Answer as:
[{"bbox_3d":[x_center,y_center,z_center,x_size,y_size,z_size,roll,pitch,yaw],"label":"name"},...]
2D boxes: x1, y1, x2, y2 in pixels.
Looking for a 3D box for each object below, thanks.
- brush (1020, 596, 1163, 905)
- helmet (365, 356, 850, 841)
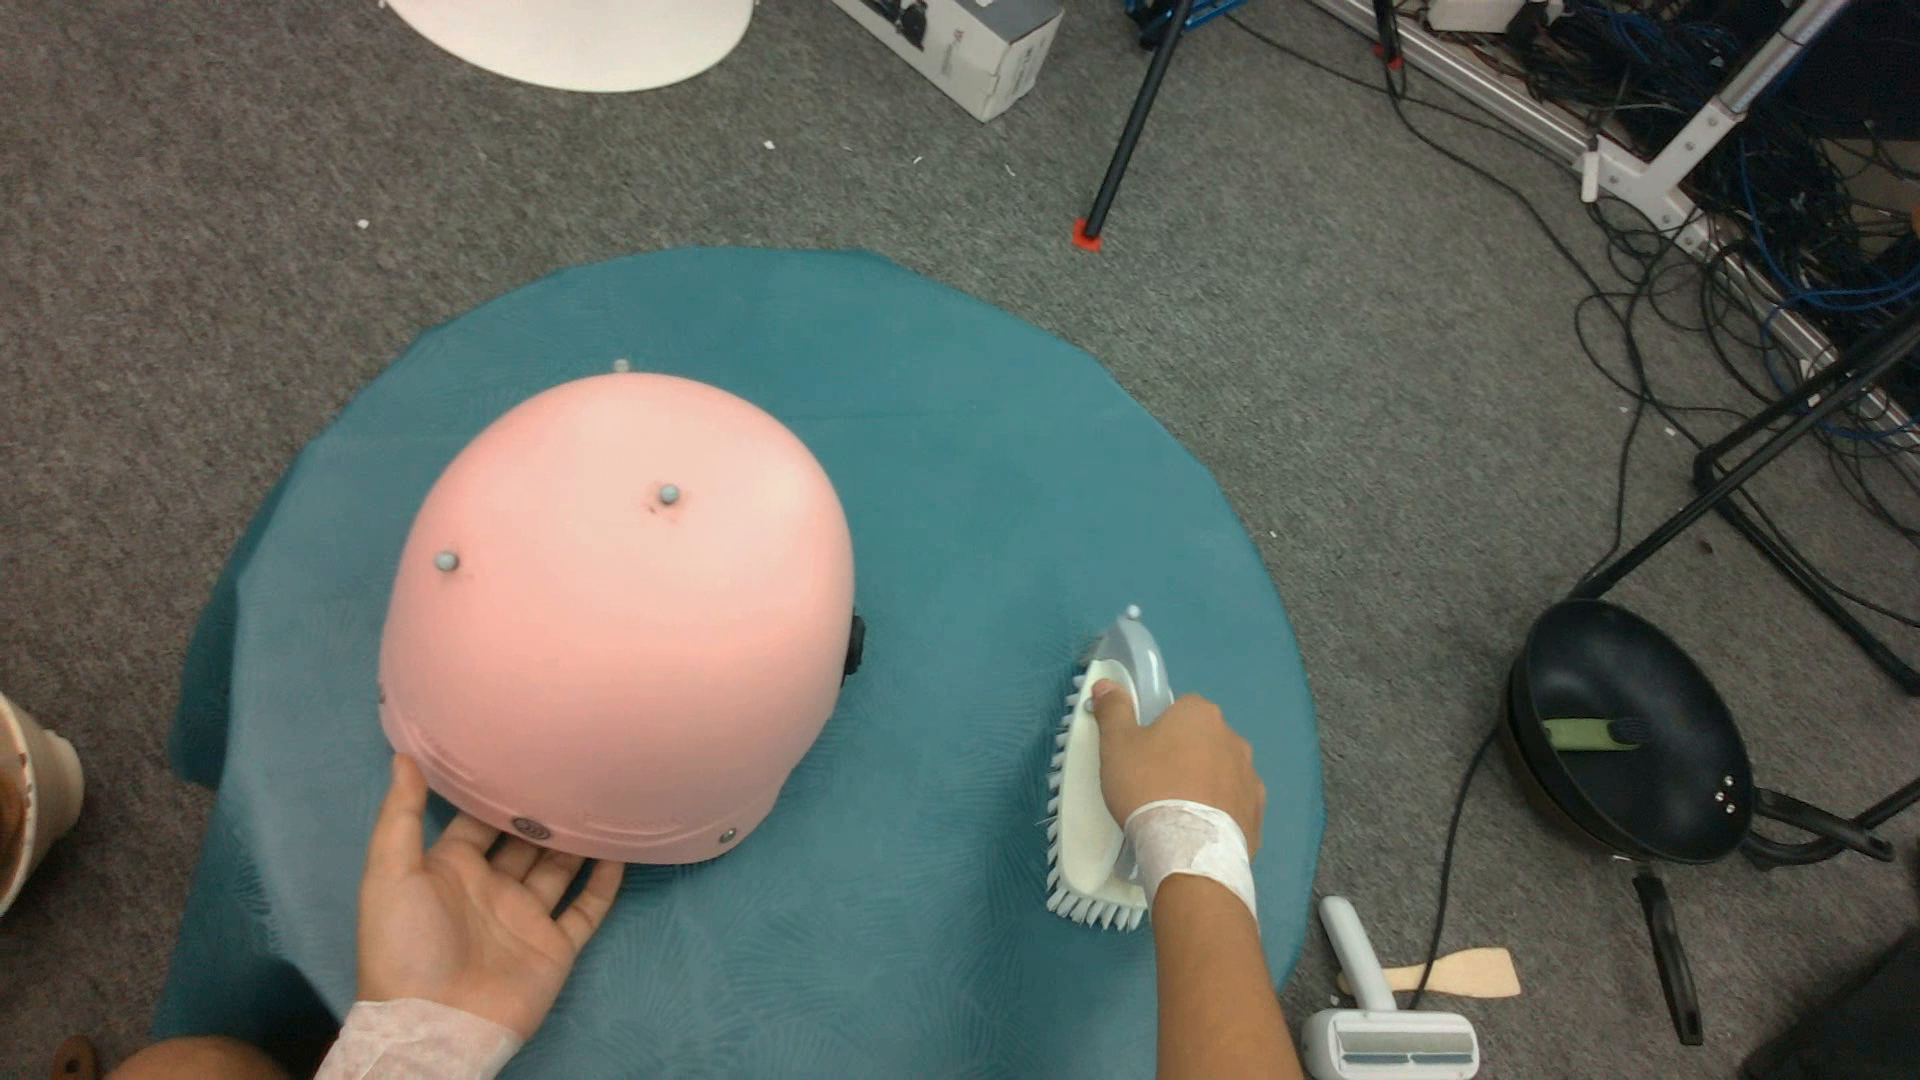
[{"bbox_3d":[0.077,0.096,0.737,0.061,0.093,0.176,18,52,-12],"label":"brush"},{"bbox_3d":[-0.159,0.001,0.672,0.234,0.158,0.267,21,47,-6],"label":"helmet"}]
